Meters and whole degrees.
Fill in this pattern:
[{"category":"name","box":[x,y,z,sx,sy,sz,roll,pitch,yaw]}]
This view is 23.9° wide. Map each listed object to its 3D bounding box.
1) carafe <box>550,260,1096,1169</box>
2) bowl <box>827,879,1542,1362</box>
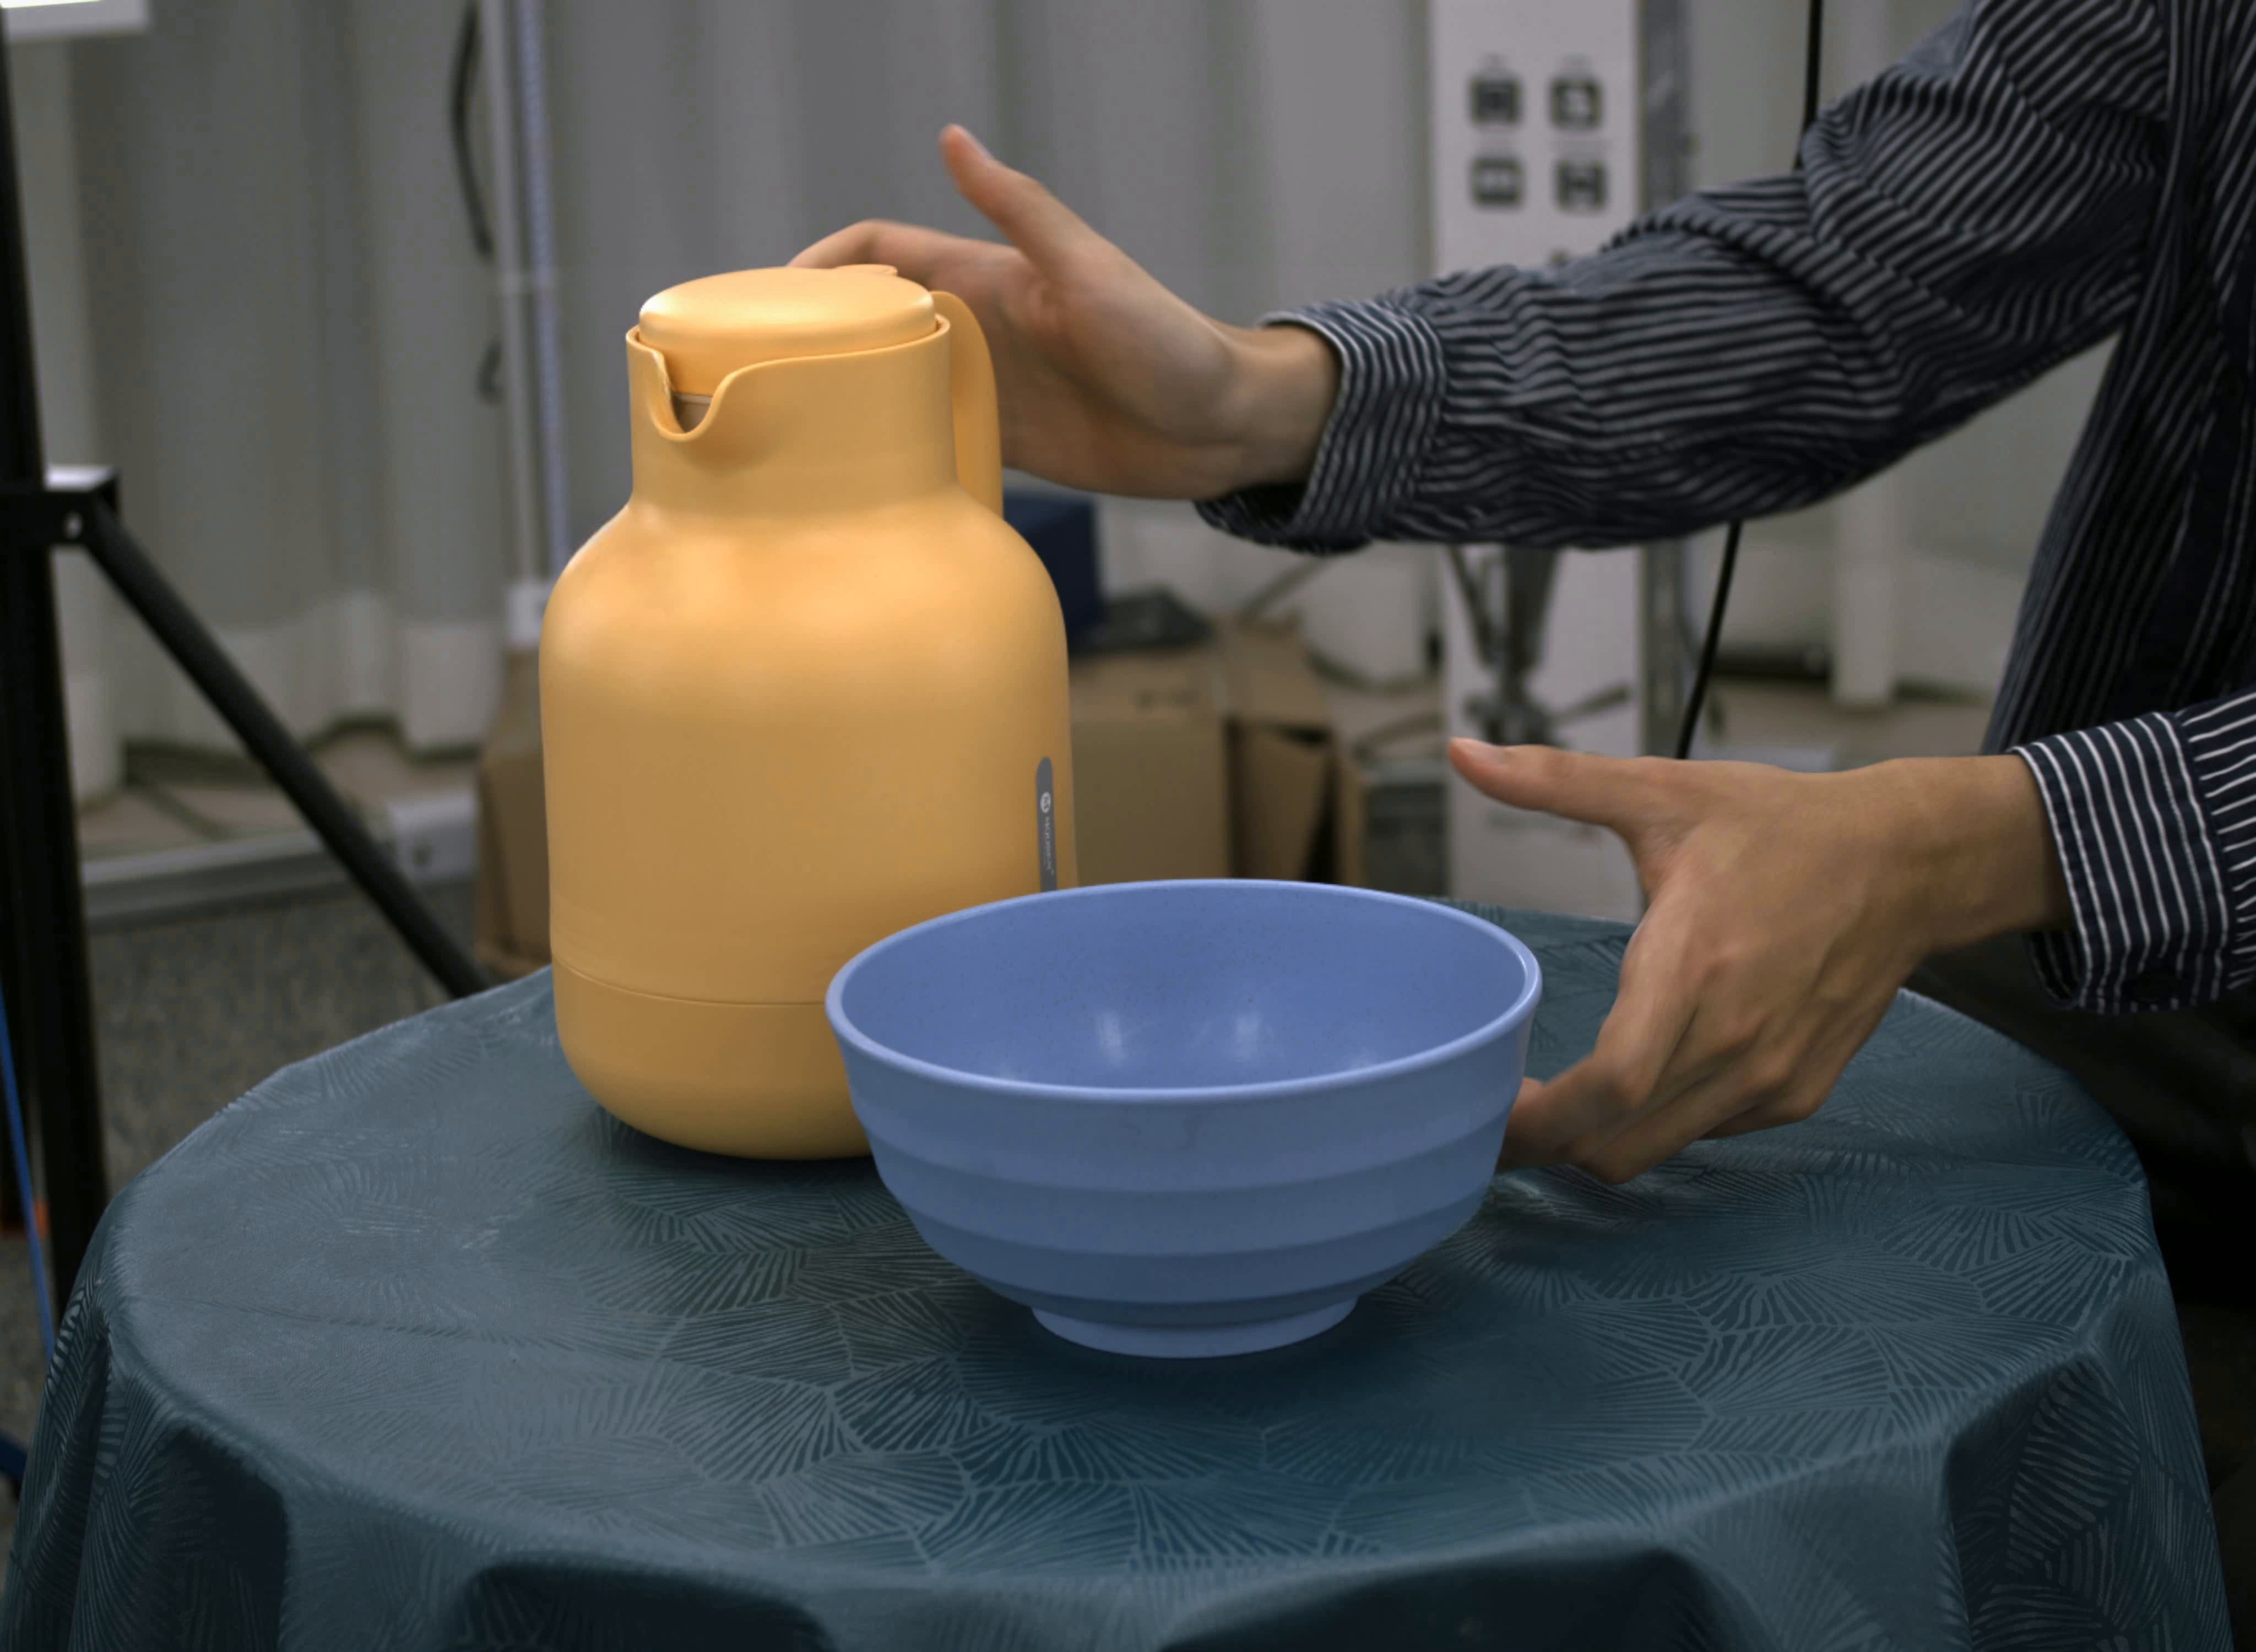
[{"category":"carafe","box":[-0.085,-0.041,1.624,0.166,0.260,0.199,4,16,23]},{"category":"bowl","box":[0.017,0.087,1.463,0.195,0.095,0.197,-3,16,-1]}]
